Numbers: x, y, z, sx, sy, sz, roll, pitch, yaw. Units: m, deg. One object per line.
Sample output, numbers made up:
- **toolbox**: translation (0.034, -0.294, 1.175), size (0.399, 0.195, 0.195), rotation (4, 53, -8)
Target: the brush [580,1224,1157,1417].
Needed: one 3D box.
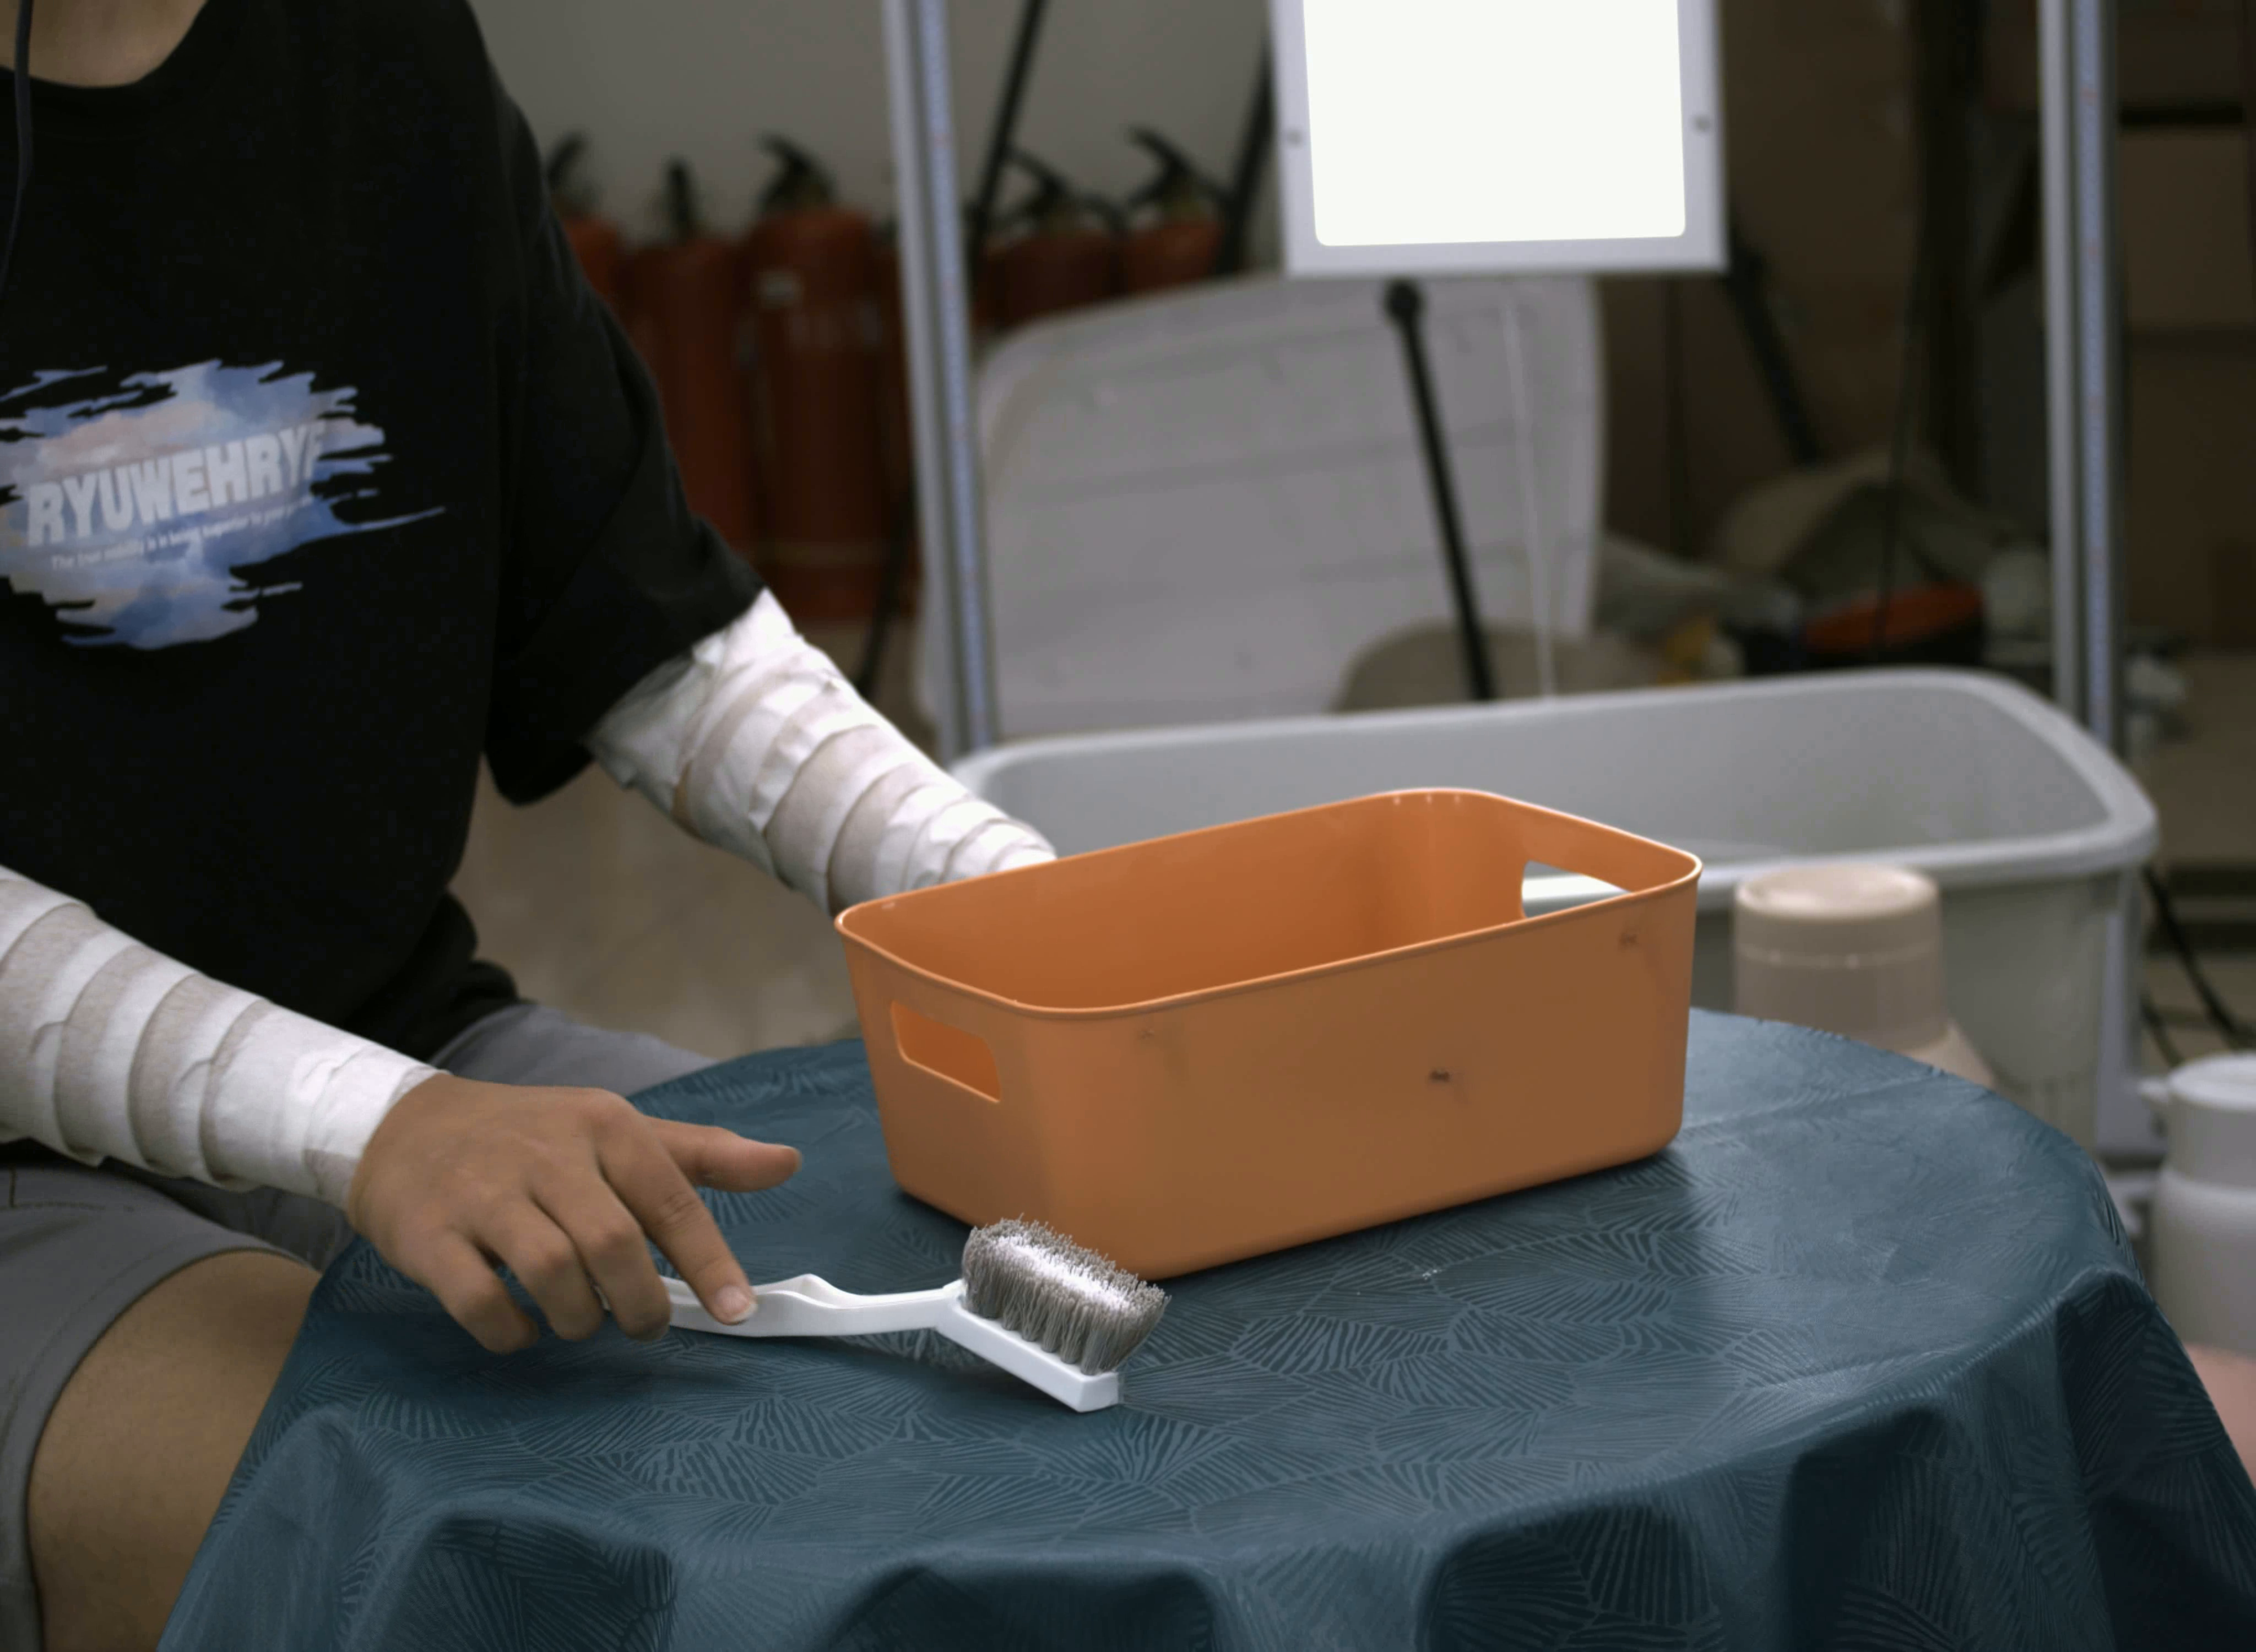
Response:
- **brush**: translation (-0.089, 0.143, 1.759), size (0.249, 0.050, 0.033), rotation (8, 21, 42)

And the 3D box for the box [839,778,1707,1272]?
- **box**: translation (0.051, 0.066, 1.897), size (0.267, 0.103, 0.203), rotation (-11, 16, -26)
